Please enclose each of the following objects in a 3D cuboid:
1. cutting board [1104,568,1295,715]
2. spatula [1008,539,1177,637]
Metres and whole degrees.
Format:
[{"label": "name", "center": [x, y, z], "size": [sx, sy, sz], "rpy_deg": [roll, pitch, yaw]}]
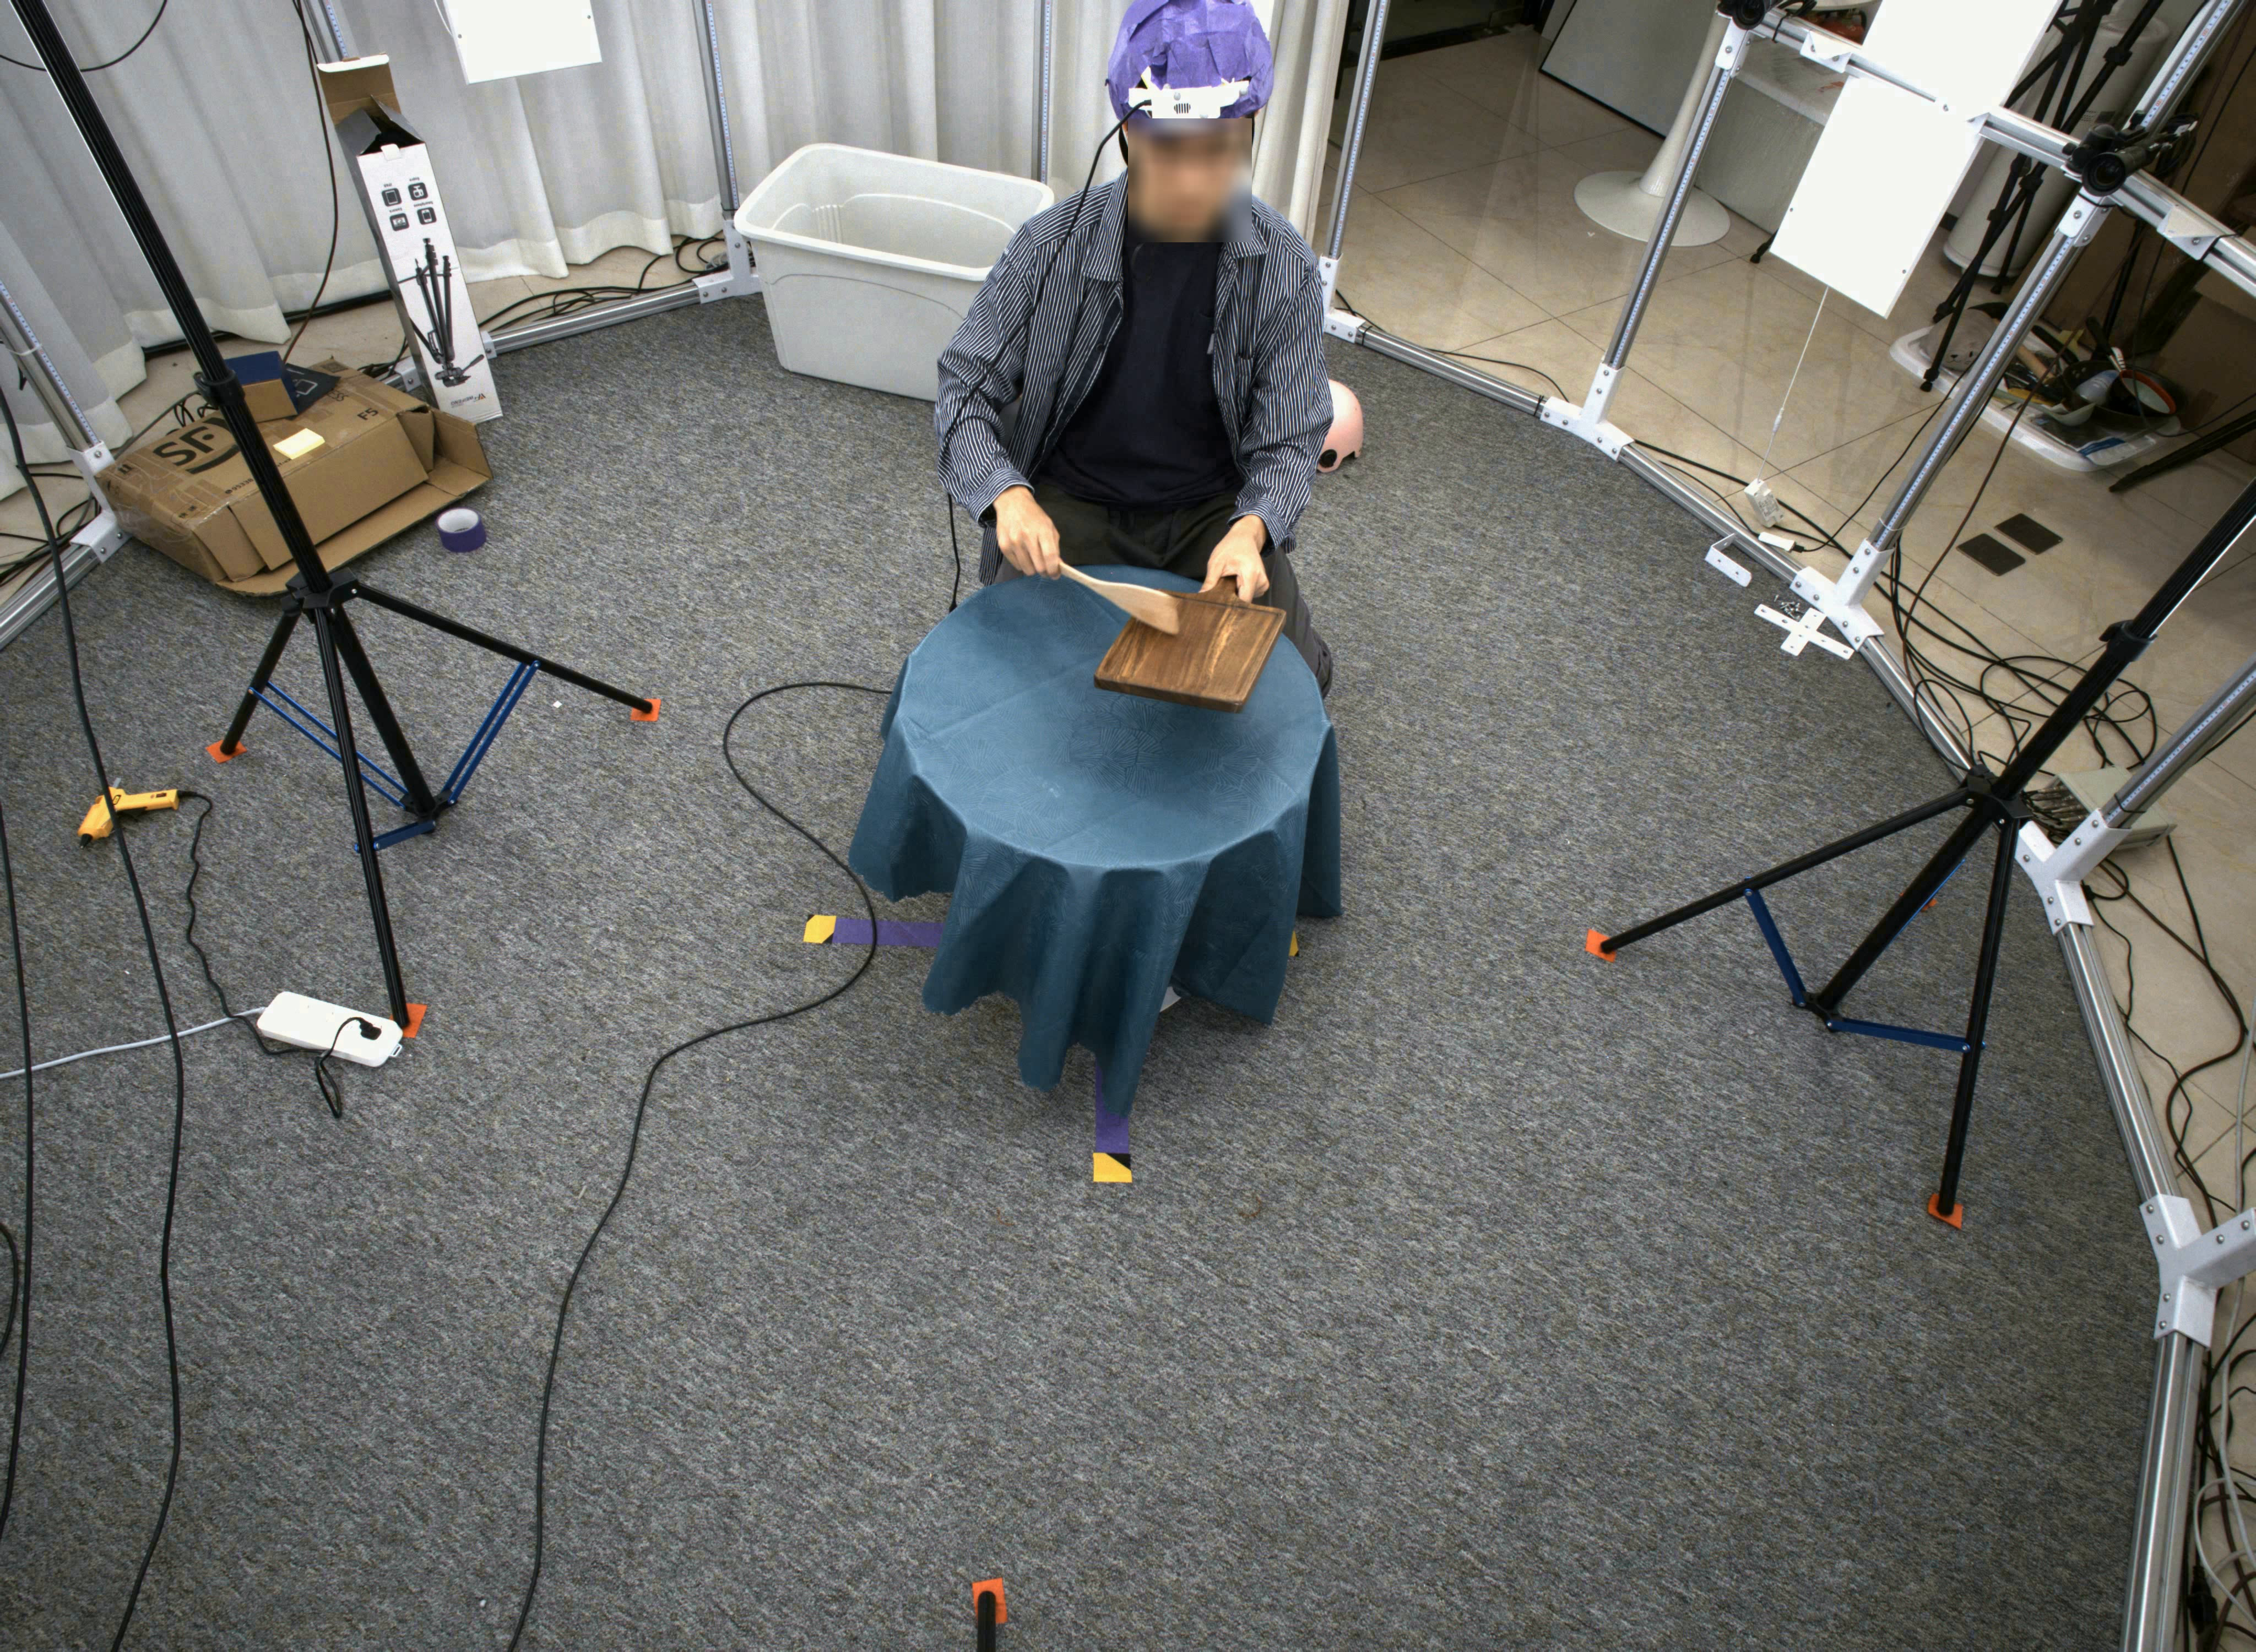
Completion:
[{"label": "cutting board", "center": [0.114, -0.261, 1.716], "size": [0.202, 0.022, 0.359], "rpy_deg": [12, 38, 14]}, {"label": "spatula", "center": [-0.053, -0.335, 1.756], "size": [0.333, 0.078, 0.016], "rpy_deg": [32, 67, 36]}]
